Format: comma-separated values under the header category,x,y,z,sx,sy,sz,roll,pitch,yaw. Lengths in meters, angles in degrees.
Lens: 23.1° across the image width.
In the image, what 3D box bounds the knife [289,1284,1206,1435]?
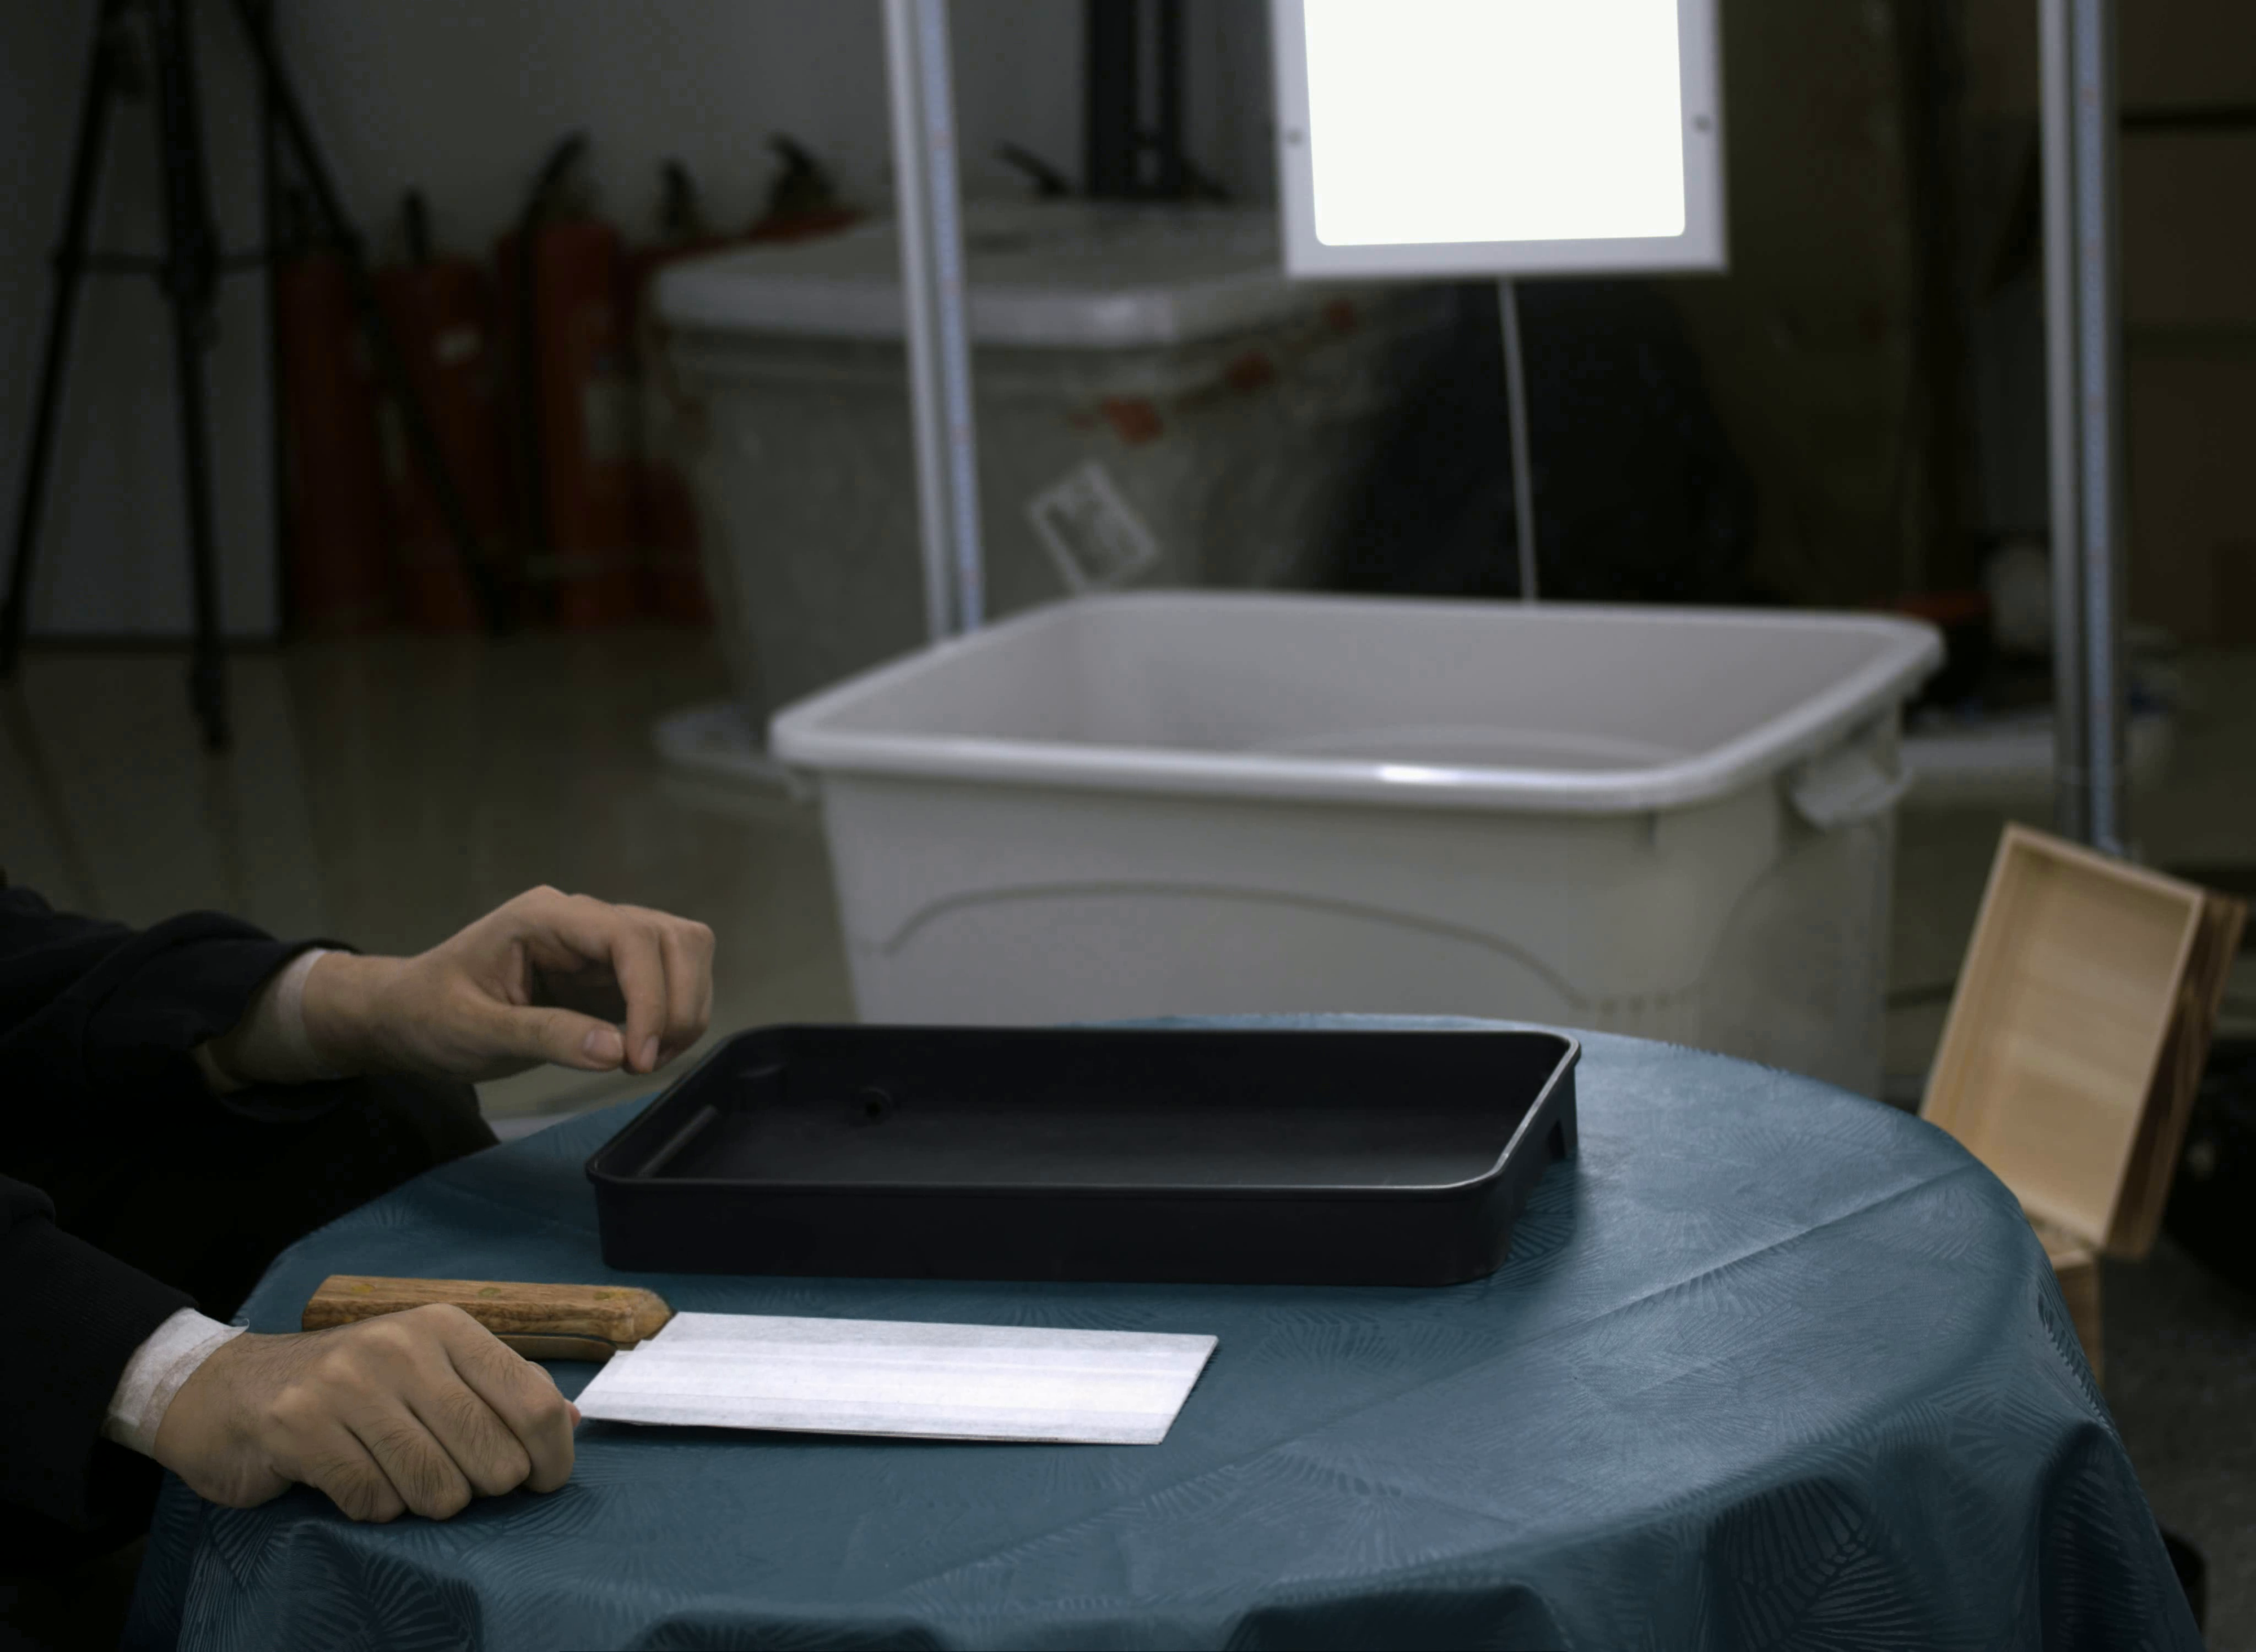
category,x,y,z,sx,sy,sz,roll,pitch,yaw
knife,-0.128,0.170,1.735,0.308,0.021,0.091,1,17,15

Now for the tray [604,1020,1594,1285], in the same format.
category,x,y,z,sx,sy,sz,roll,pitch,yaw
tray,-0.006,0.110,1.888,0.321,0.037,0.182,-1,15,16
